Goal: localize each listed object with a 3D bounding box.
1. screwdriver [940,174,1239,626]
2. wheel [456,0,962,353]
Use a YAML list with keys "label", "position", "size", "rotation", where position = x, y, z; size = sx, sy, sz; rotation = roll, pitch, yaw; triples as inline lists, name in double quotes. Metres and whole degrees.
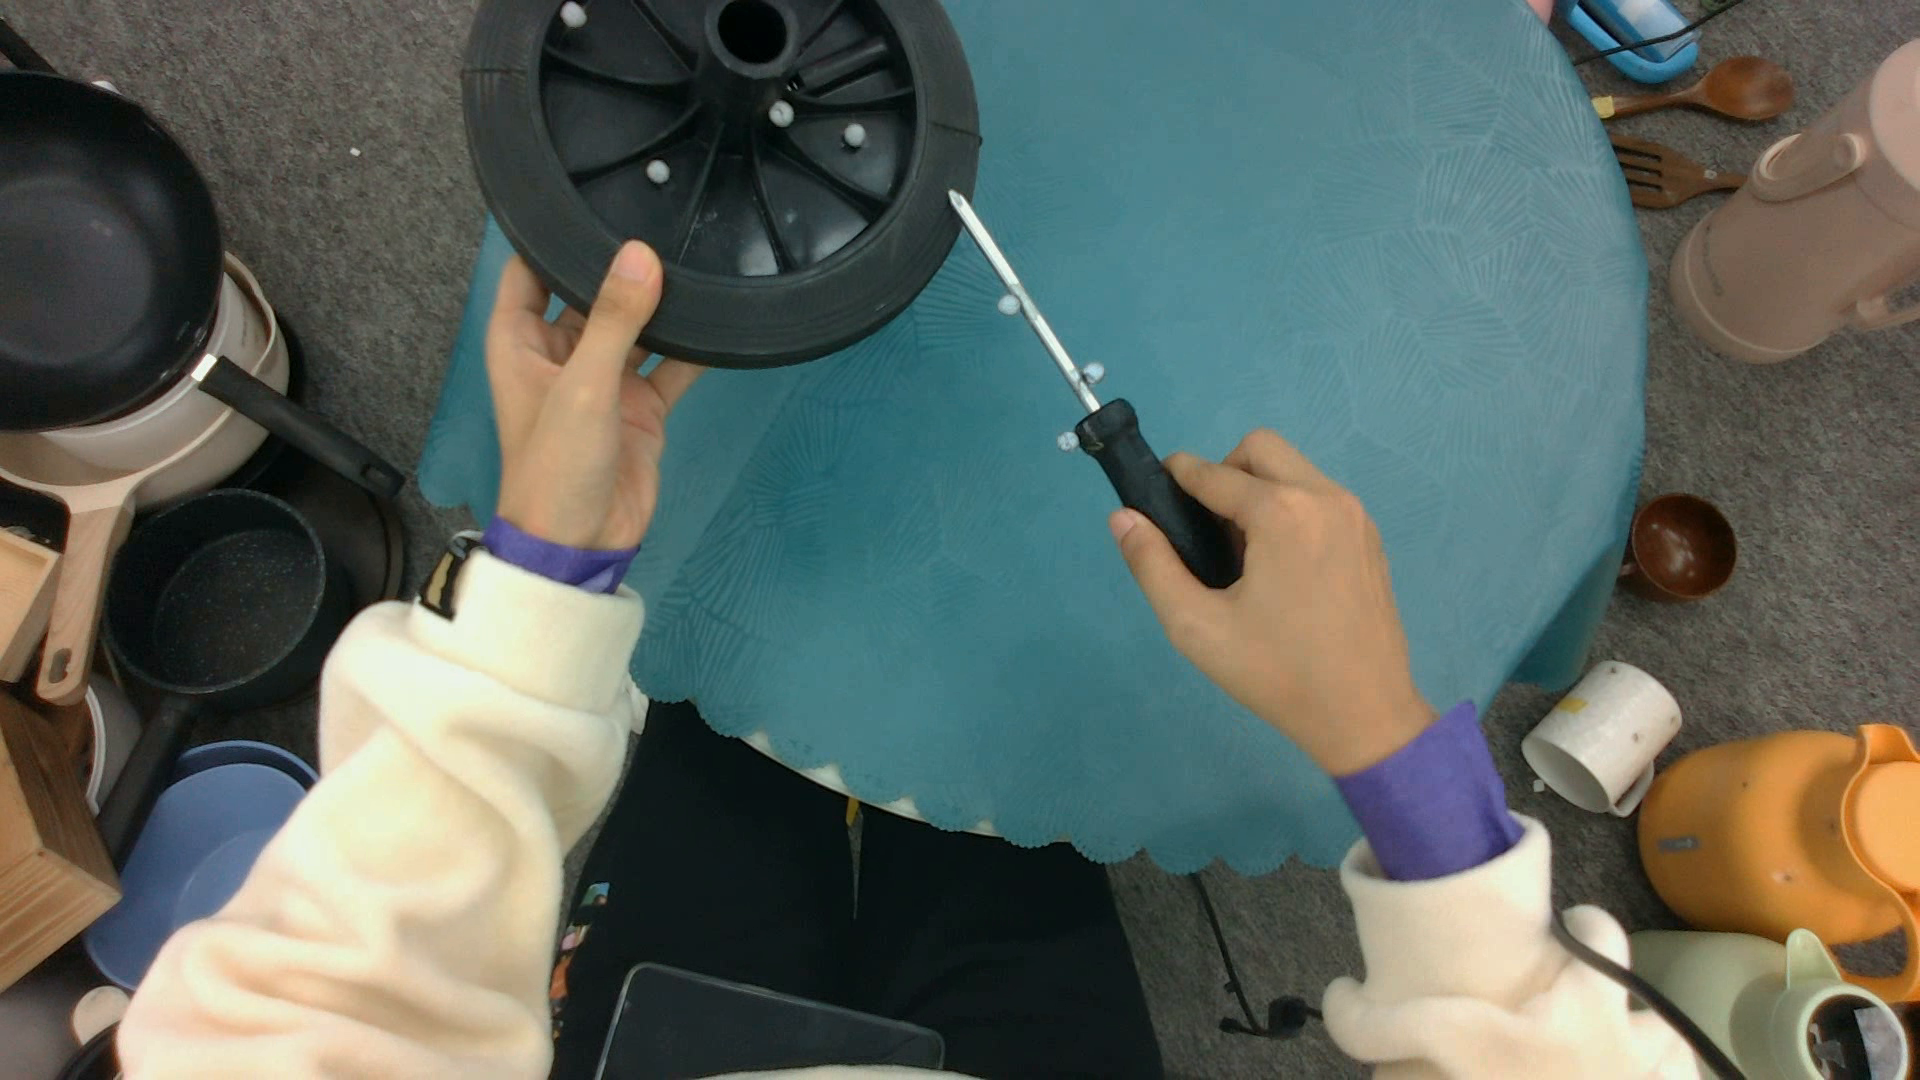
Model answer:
- label: "screwdriver"
  position: [0.043, -0.054, 0.508]
  size: [0.031, 0.031, 0.196]
  rotation: [-33, 89, -11]
- label: "wheel"
  position: [-0.083, -0.167, 0.497]
  size: [0.187, 0.079, 0.190]
  rotation: [38, 71, -8]
